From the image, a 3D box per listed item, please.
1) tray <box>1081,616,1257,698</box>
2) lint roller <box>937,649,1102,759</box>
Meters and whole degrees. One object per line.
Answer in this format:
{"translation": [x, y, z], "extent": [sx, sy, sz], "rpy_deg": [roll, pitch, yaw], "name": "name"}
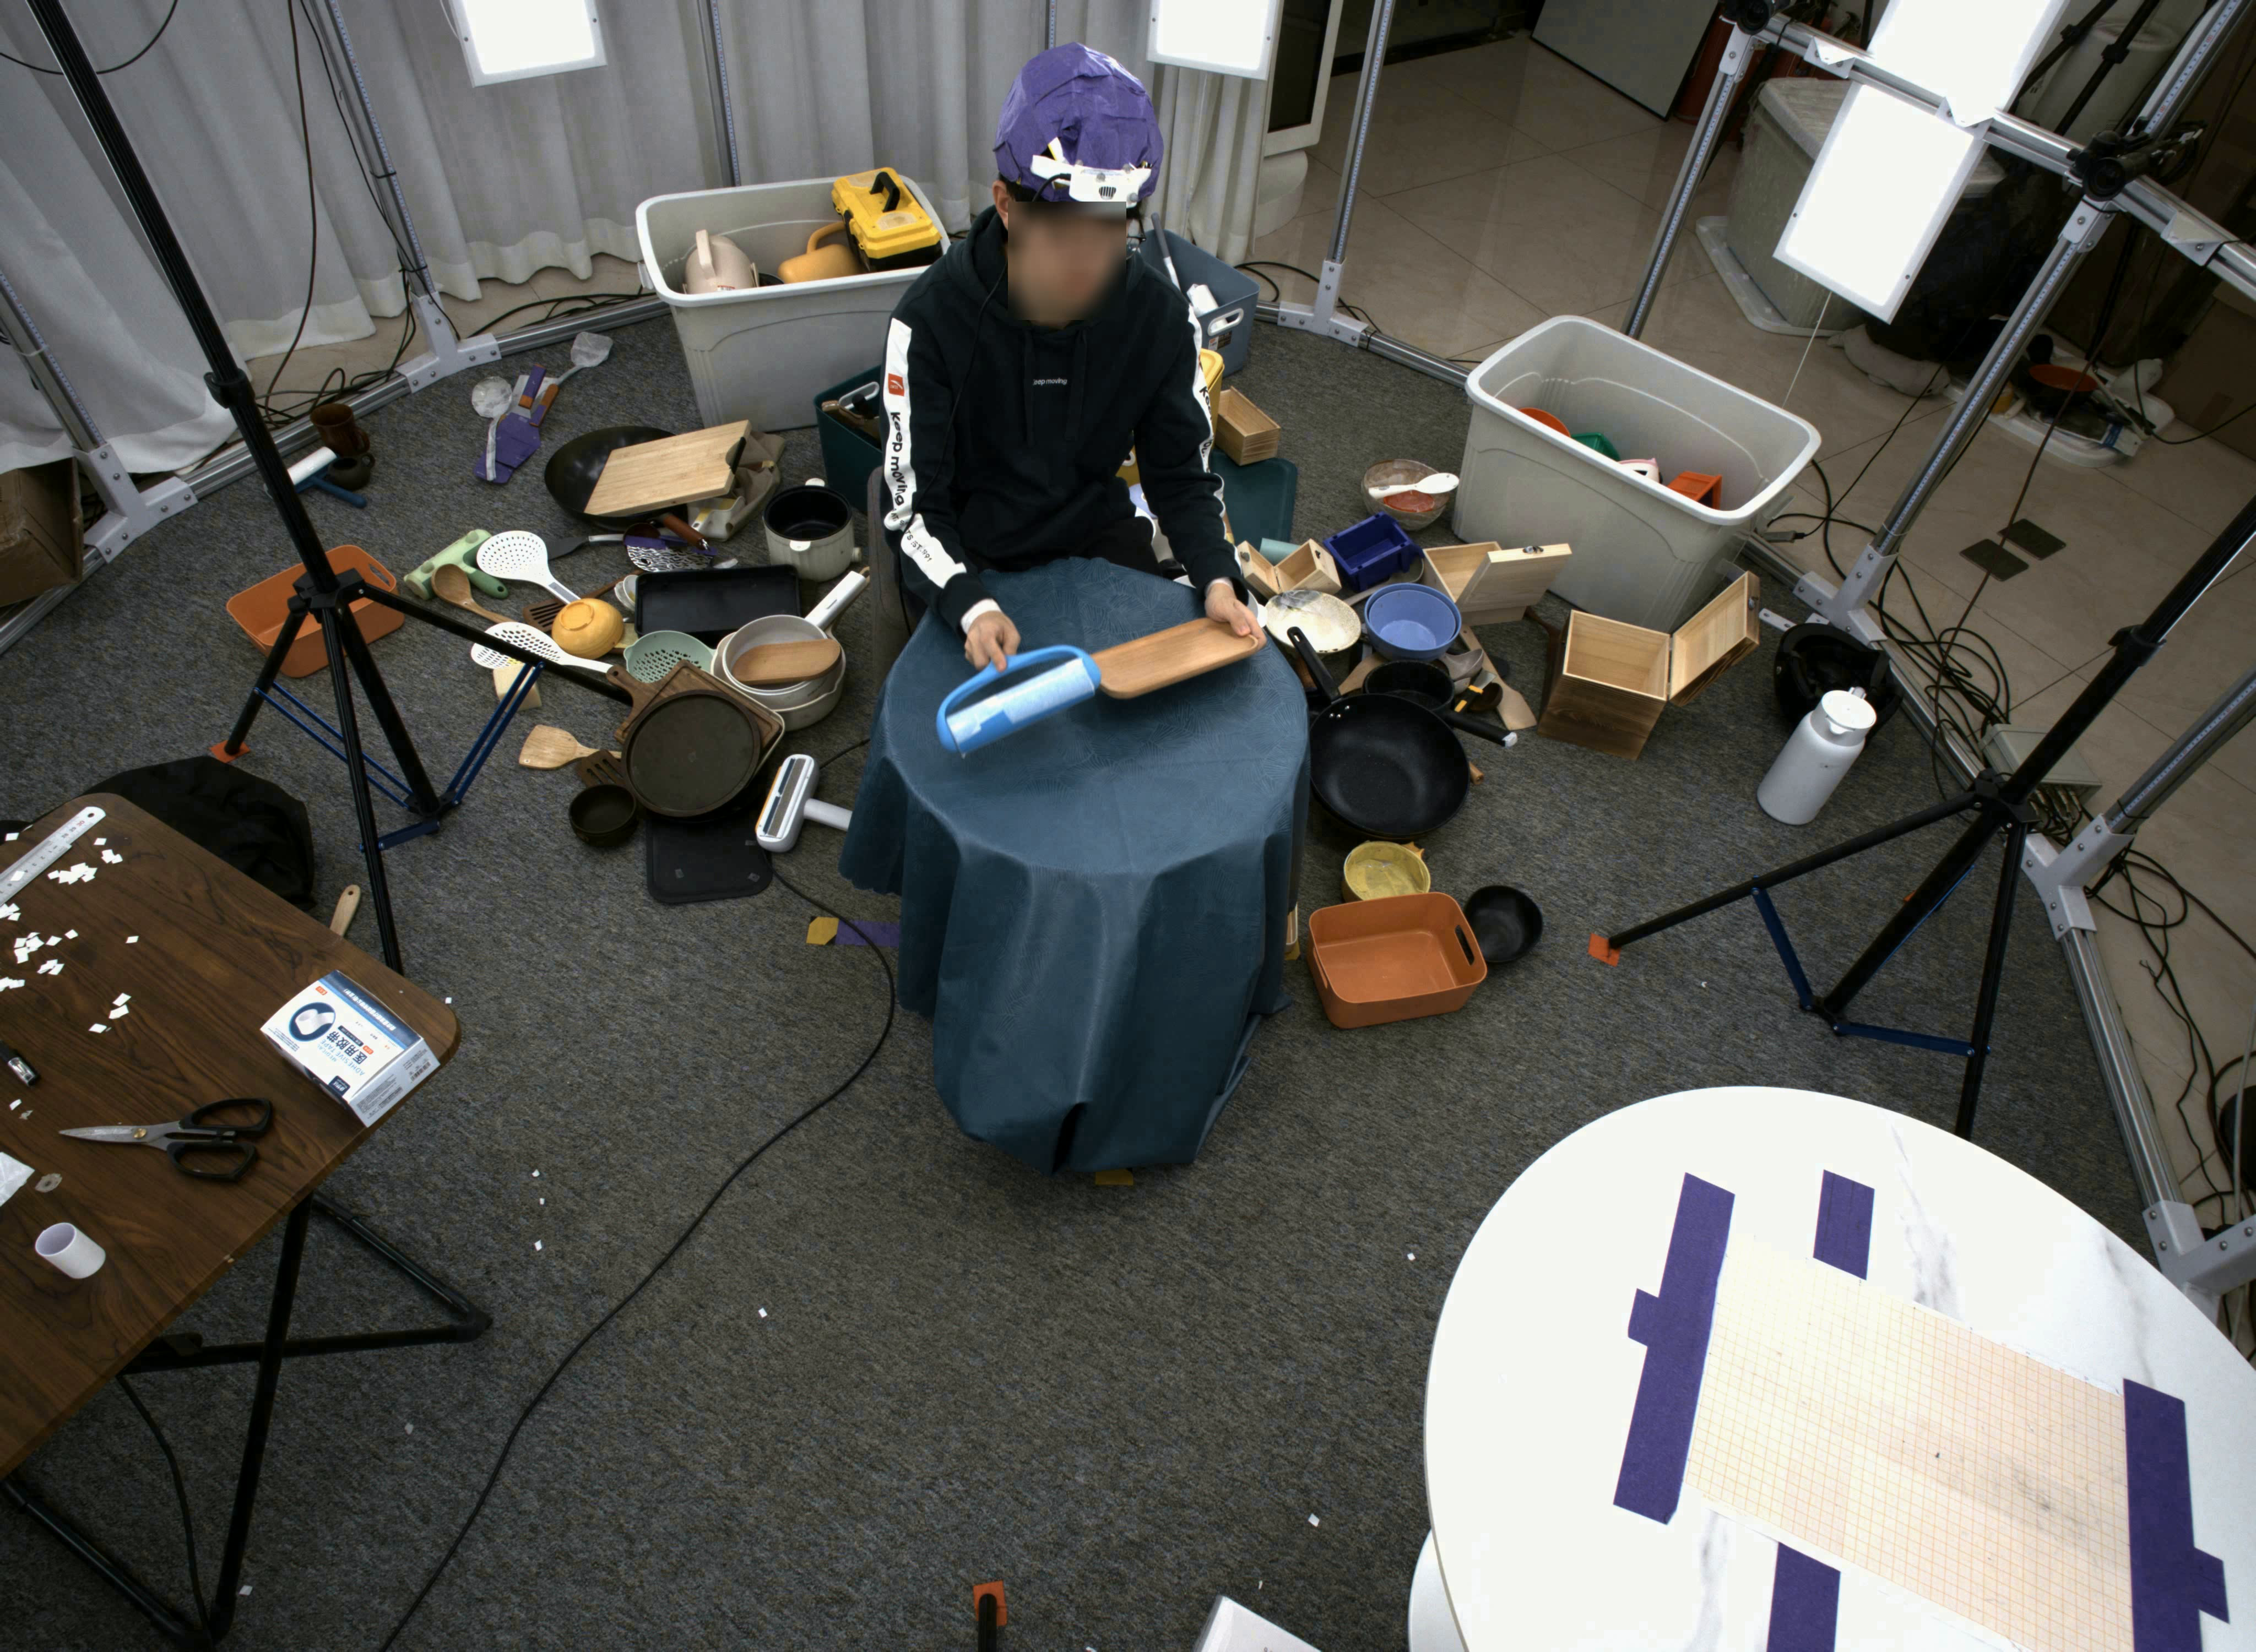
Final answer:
{"translation": [0.055, -0.240, 1.807], "extent": [0.251, 0.022, 0.133], "rpy_deg": [-21, 35, -24], "name": "tray"}
{"translation": [-0.164, -0.193, 1.720], "extent": [0.229, 0.066, 0.184], "rpy_deg": [-28, 50, -5], "name": "lint roller"}
